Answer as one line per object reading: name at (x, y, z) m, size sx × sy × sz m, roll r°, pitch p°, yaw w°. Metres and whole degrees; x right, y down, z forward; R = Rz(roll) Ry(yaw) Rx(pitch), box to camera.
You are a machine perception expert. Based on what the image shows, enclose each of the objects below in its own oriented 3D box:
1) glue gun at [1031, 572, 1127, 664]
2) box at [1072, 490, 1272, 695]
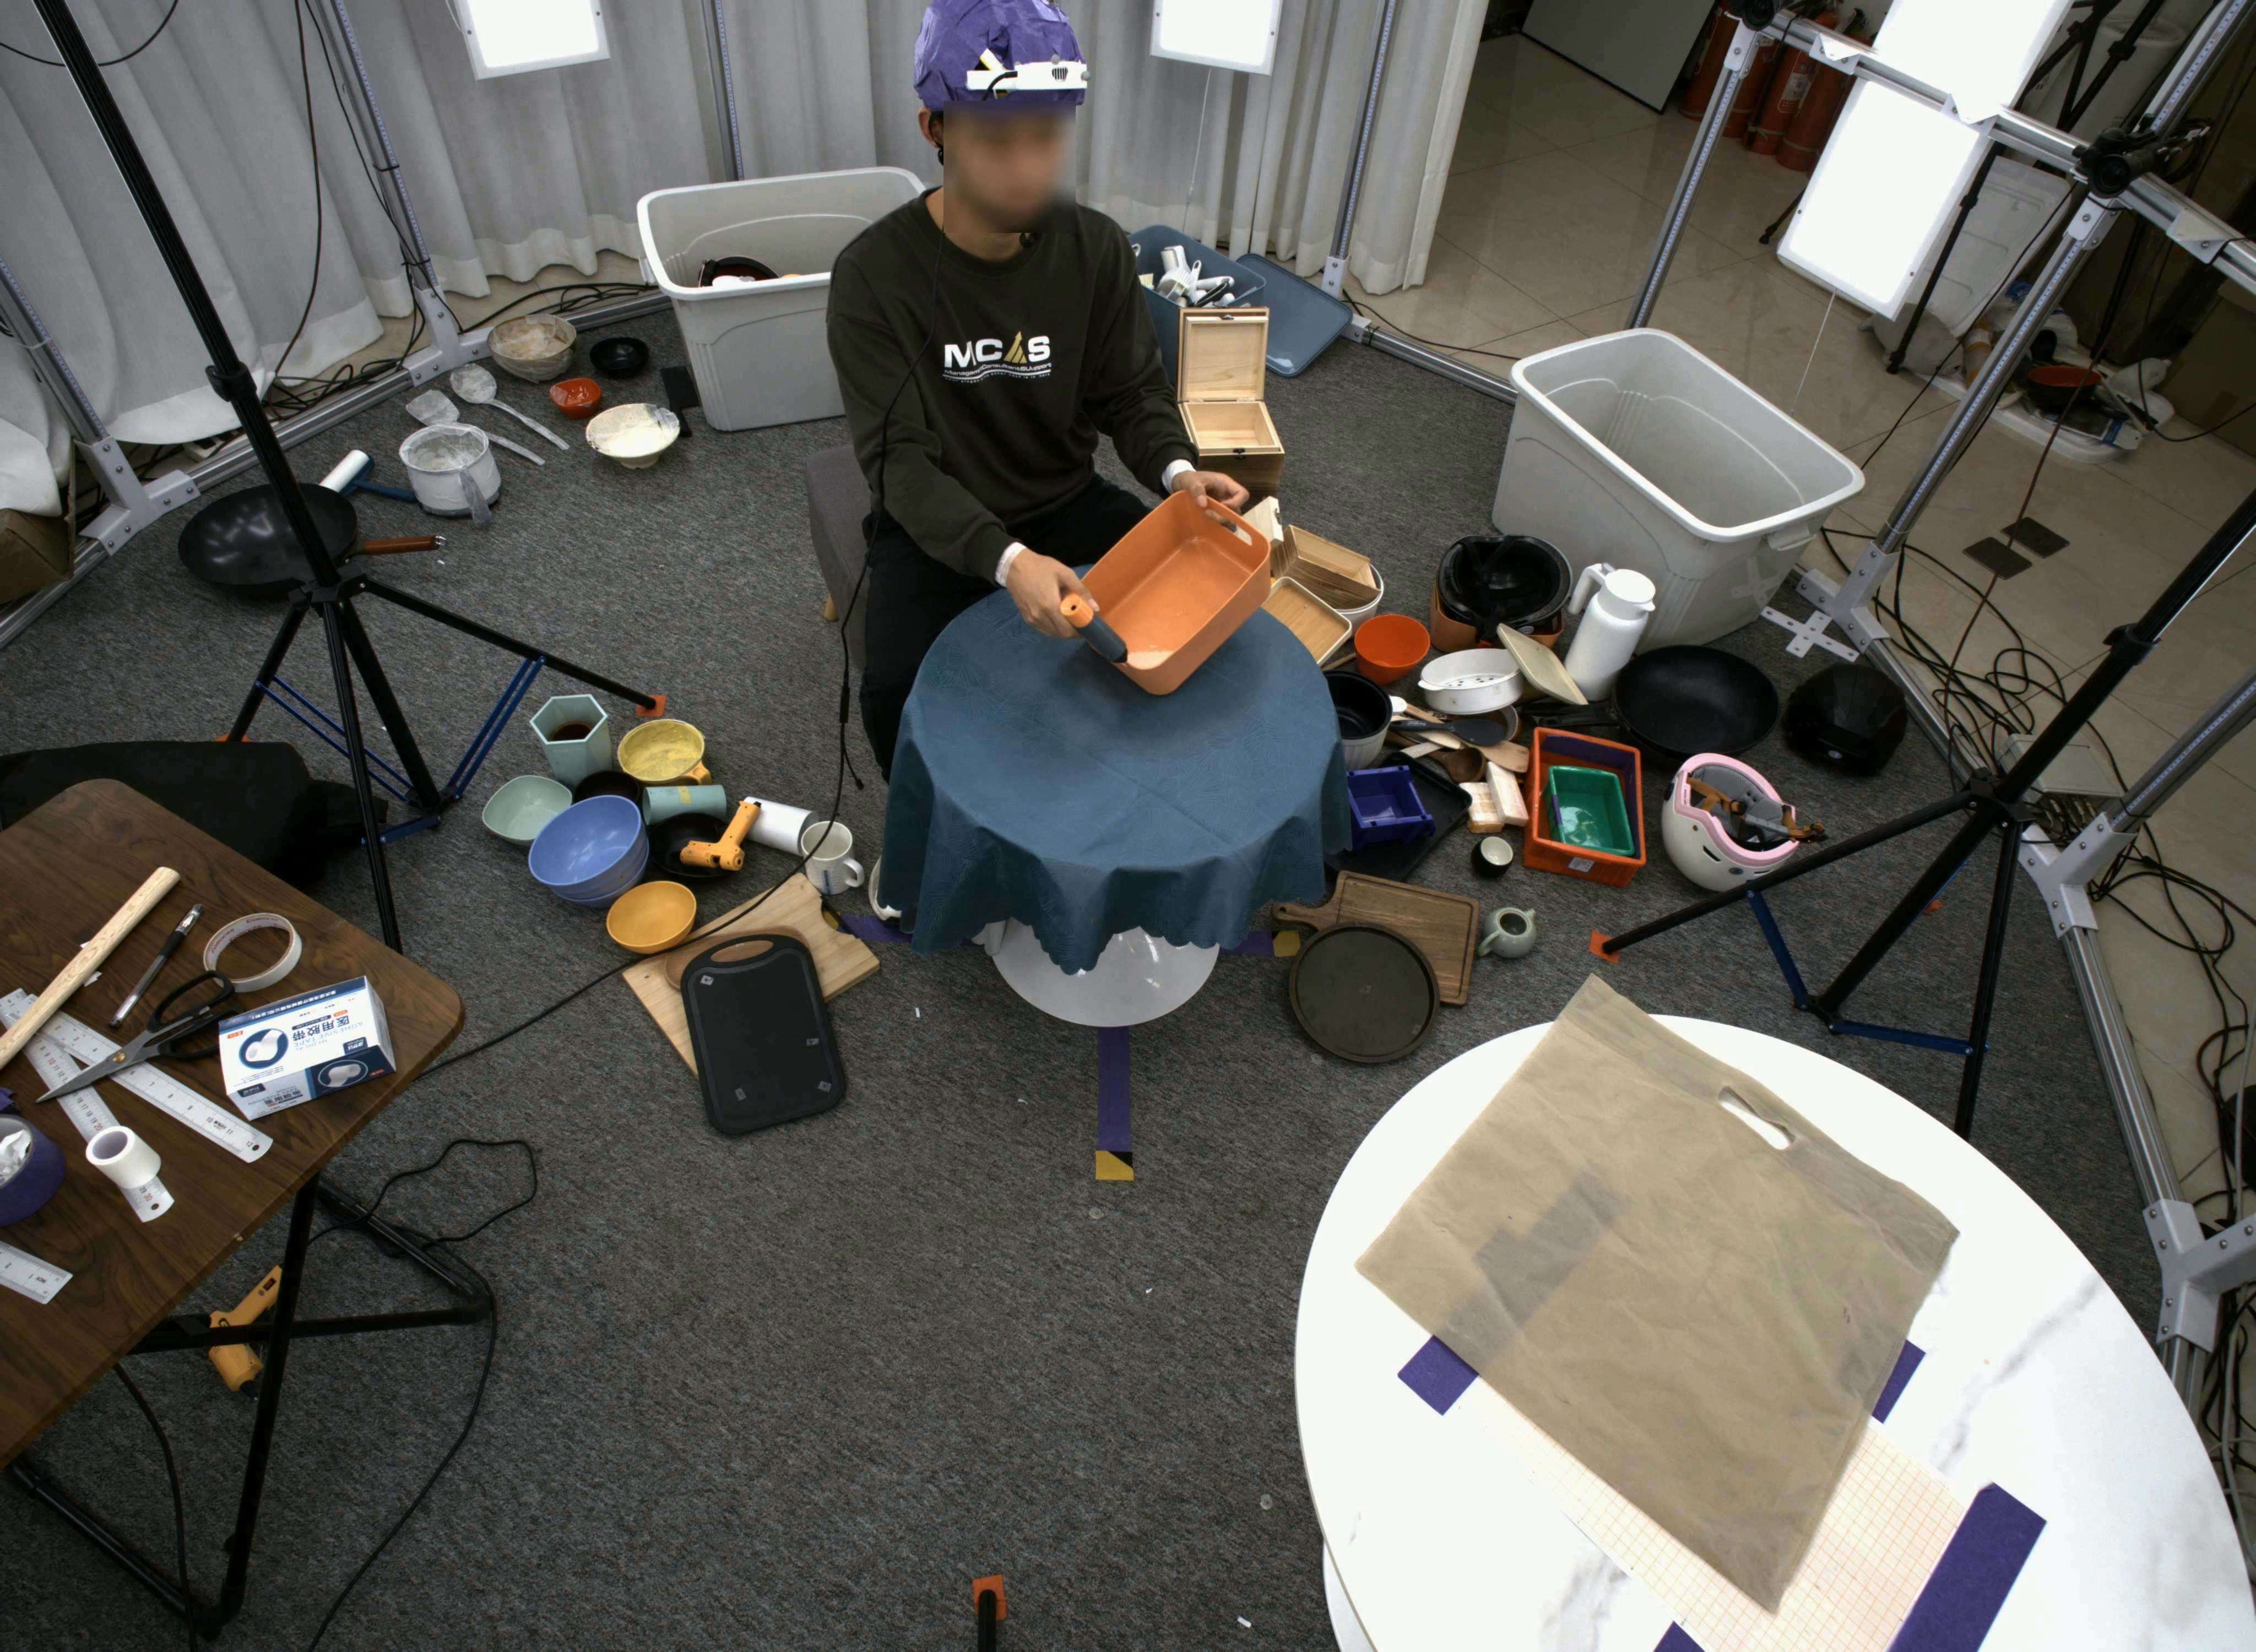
glue gun at (-0.064, -0.279, 1.729) m, size 0.041 × 0.115 × 0.142 m, roll -46°, pitch 51°, yaw 0°
box at (0.066, -0.329, 1.837) m, size 0.274 × 0.100 × 0.202 m, roll -46°, pitch 62°, yaw -10°
